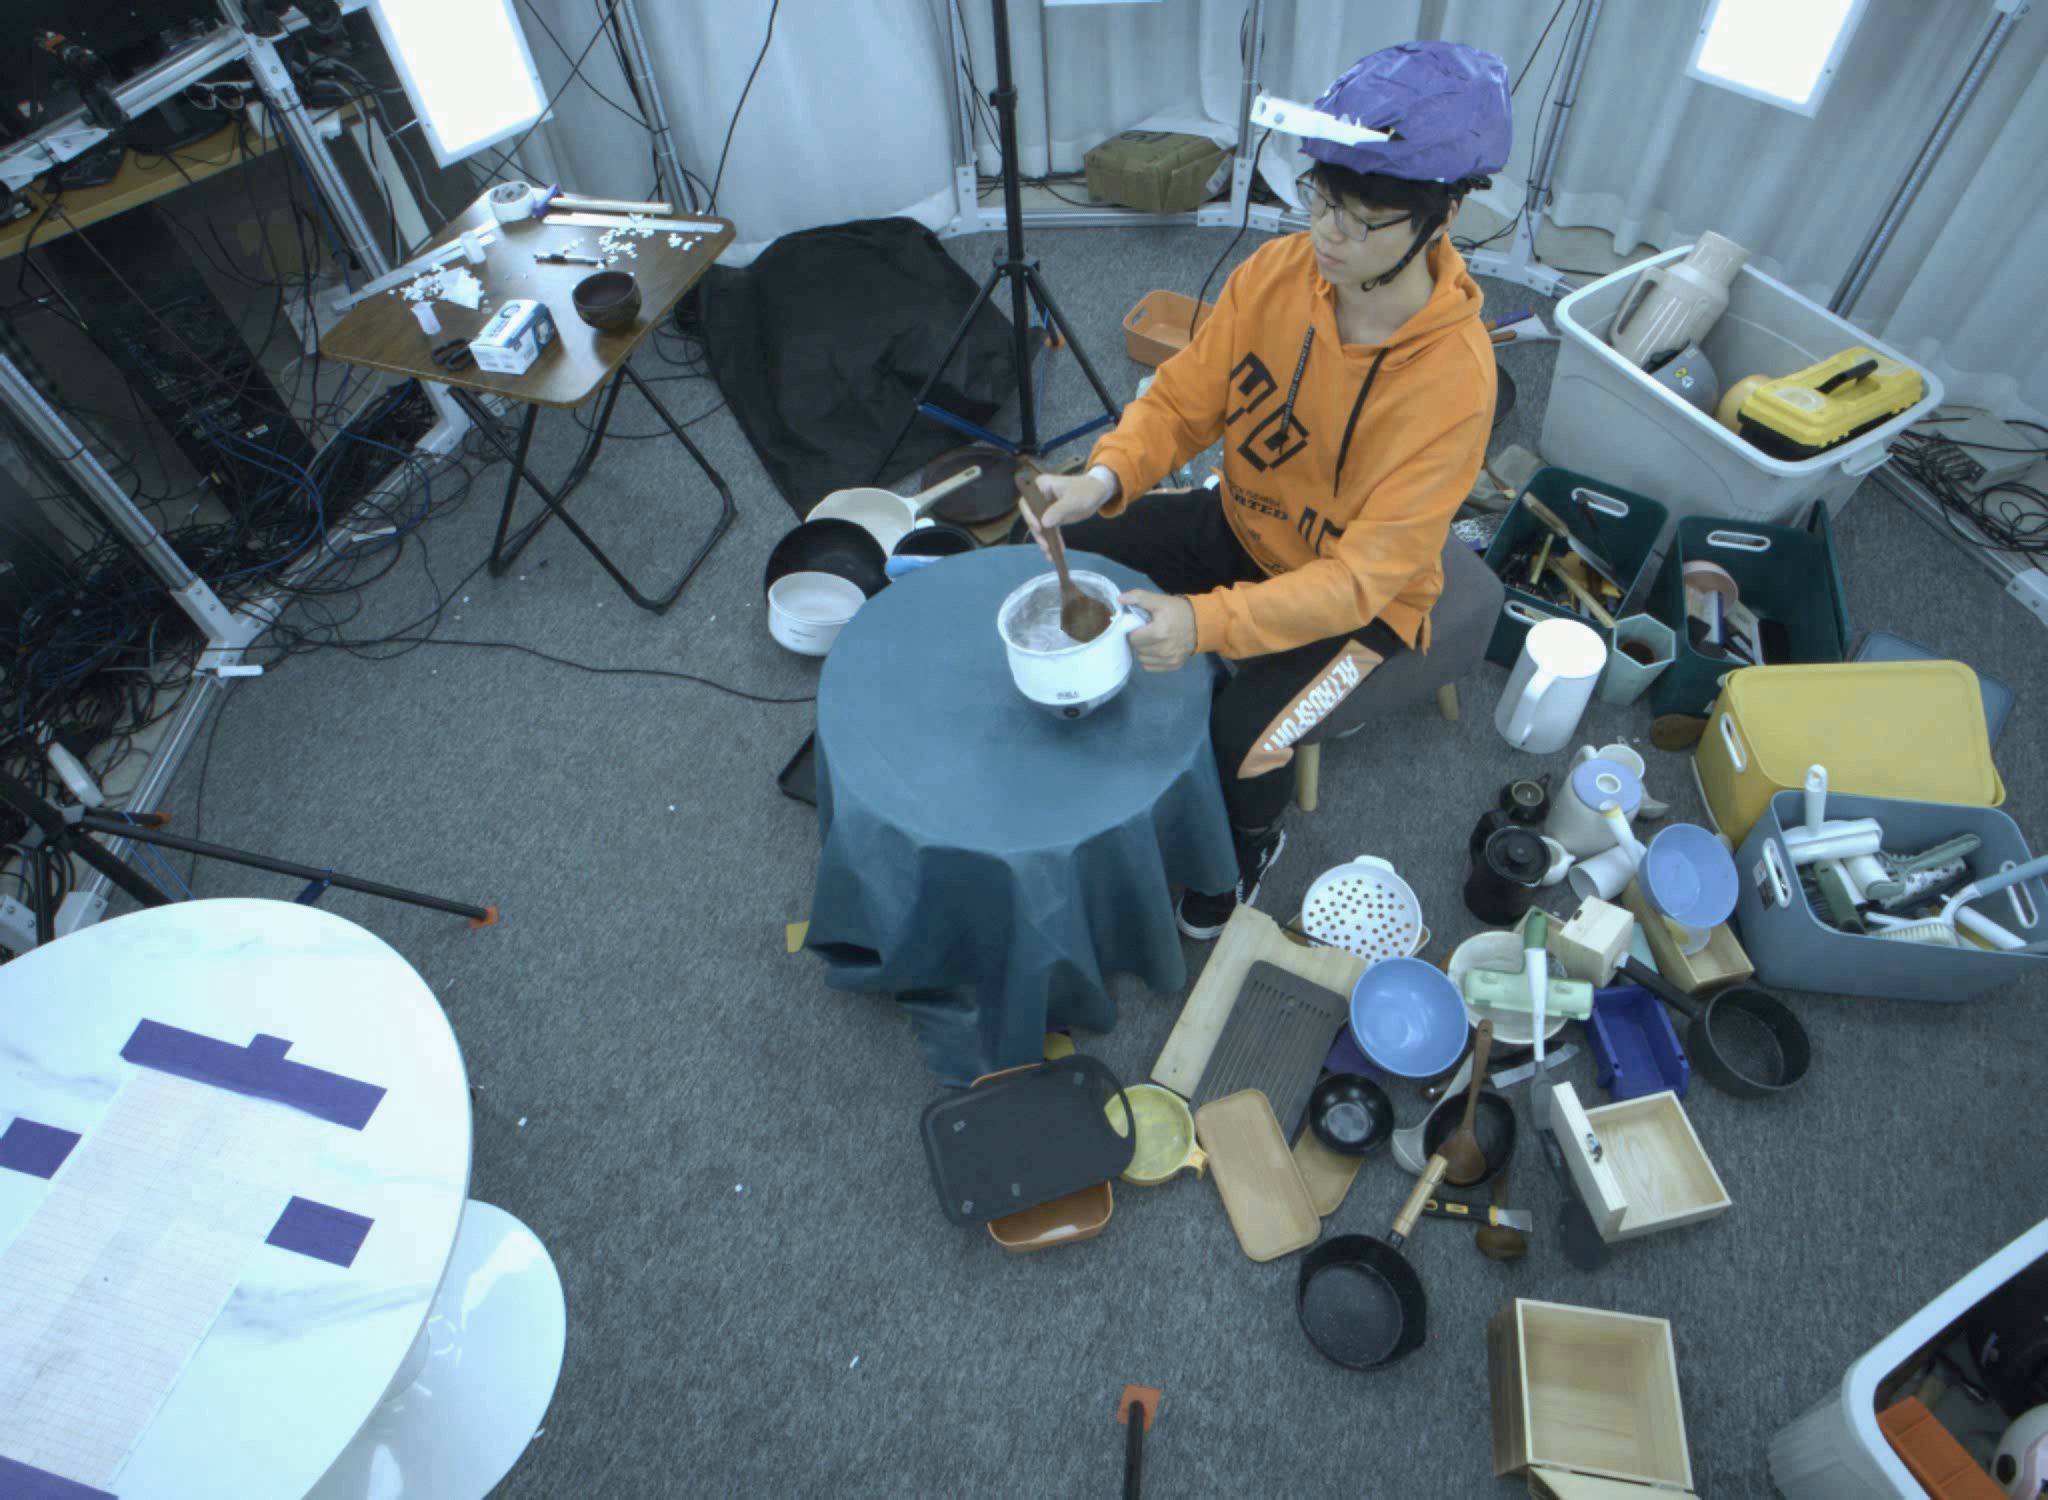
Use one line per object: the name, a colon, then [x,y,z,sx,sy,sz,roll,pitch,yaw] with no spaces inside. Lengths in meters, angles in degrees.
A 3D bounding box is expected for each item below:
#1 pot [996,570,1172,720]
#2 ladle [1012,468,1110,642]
pot: [0.088,-0.153,1.743,0.232,0.139,0.177,-7,48,10]
ladle: [0.046,-0.273,1.699,0.077,0.064,0.262,-26,102,-25]
